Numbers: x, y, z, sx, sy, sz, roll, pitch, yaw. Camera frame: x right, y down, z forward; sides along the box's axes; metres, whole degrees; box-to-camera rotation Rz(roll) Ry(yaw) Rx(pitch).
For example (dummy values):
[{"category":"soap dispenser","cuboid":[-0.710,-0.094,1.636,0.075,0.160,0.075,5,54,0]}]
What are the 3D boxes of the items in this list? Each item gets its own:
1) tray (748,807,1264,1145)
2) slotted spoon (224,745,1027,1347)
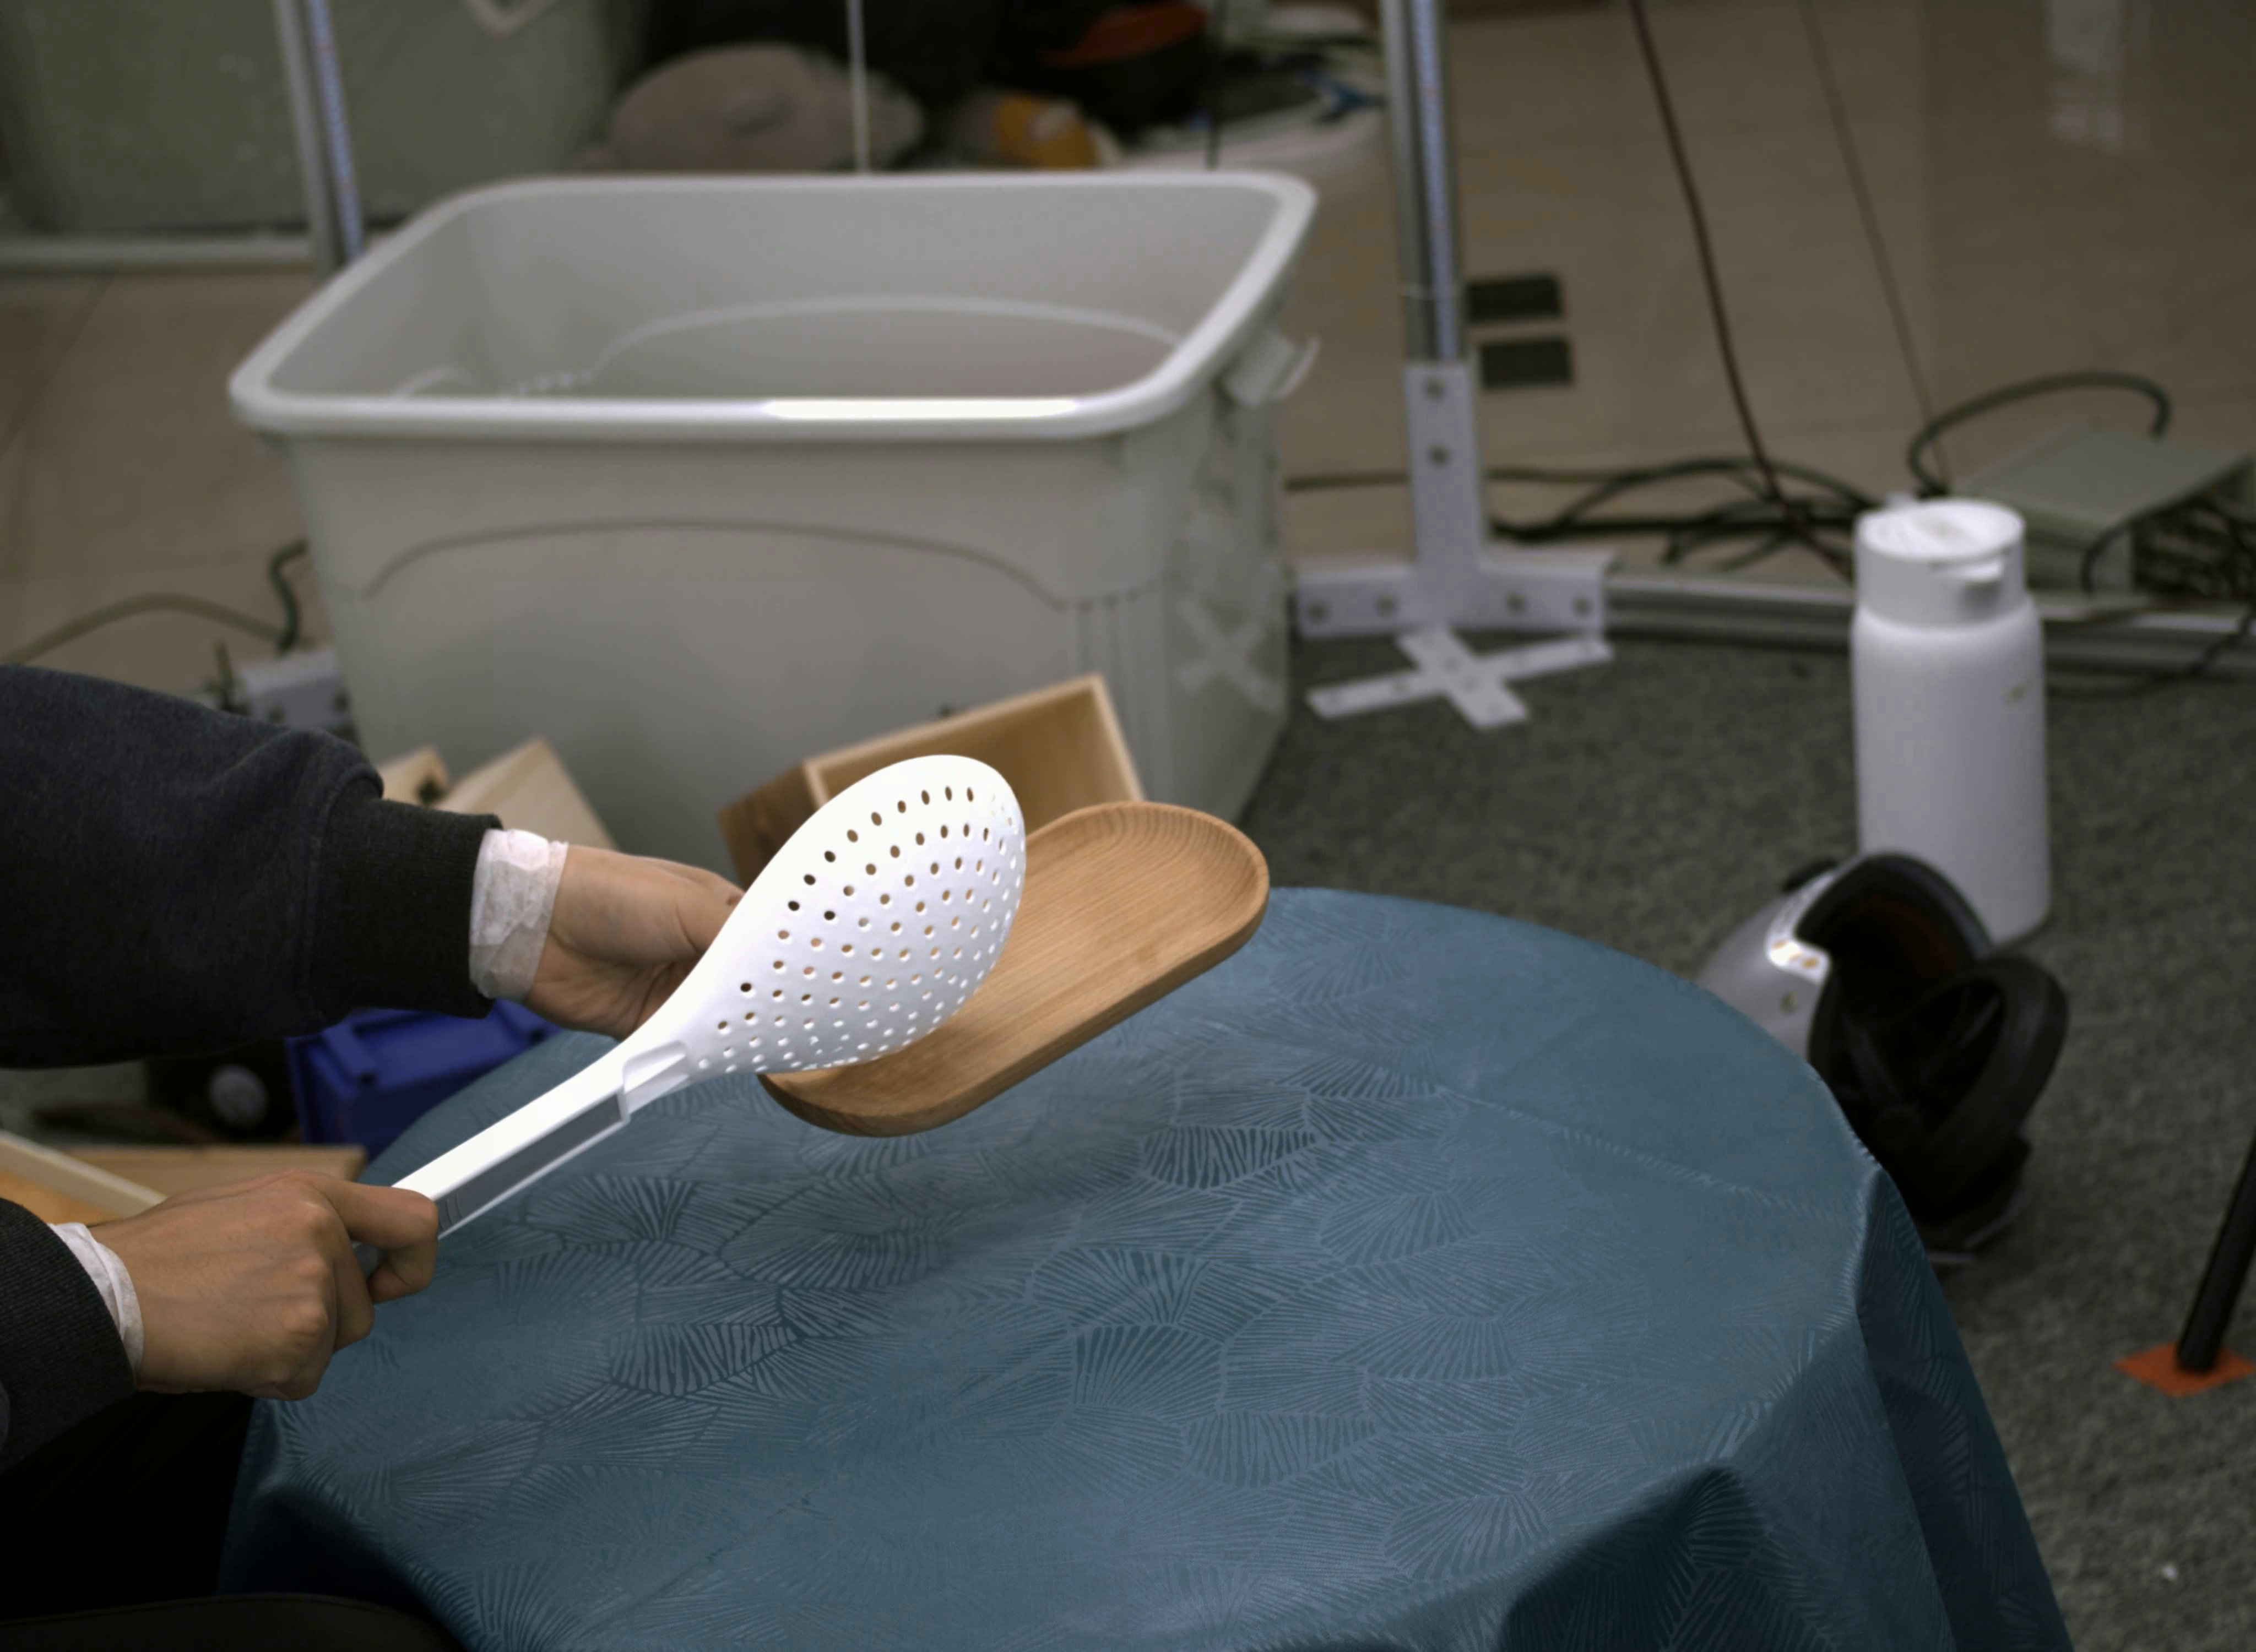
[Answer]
[{"category":"tray","cuboid":[-0.045,0.056,2.146,0.229,0.021,0.100,-31,46,-32]},{"category":"slotted spoon","cuboid":[-0.172,0.085,2.023,0.347,0.139,0.045,-28,49,-19]}]
